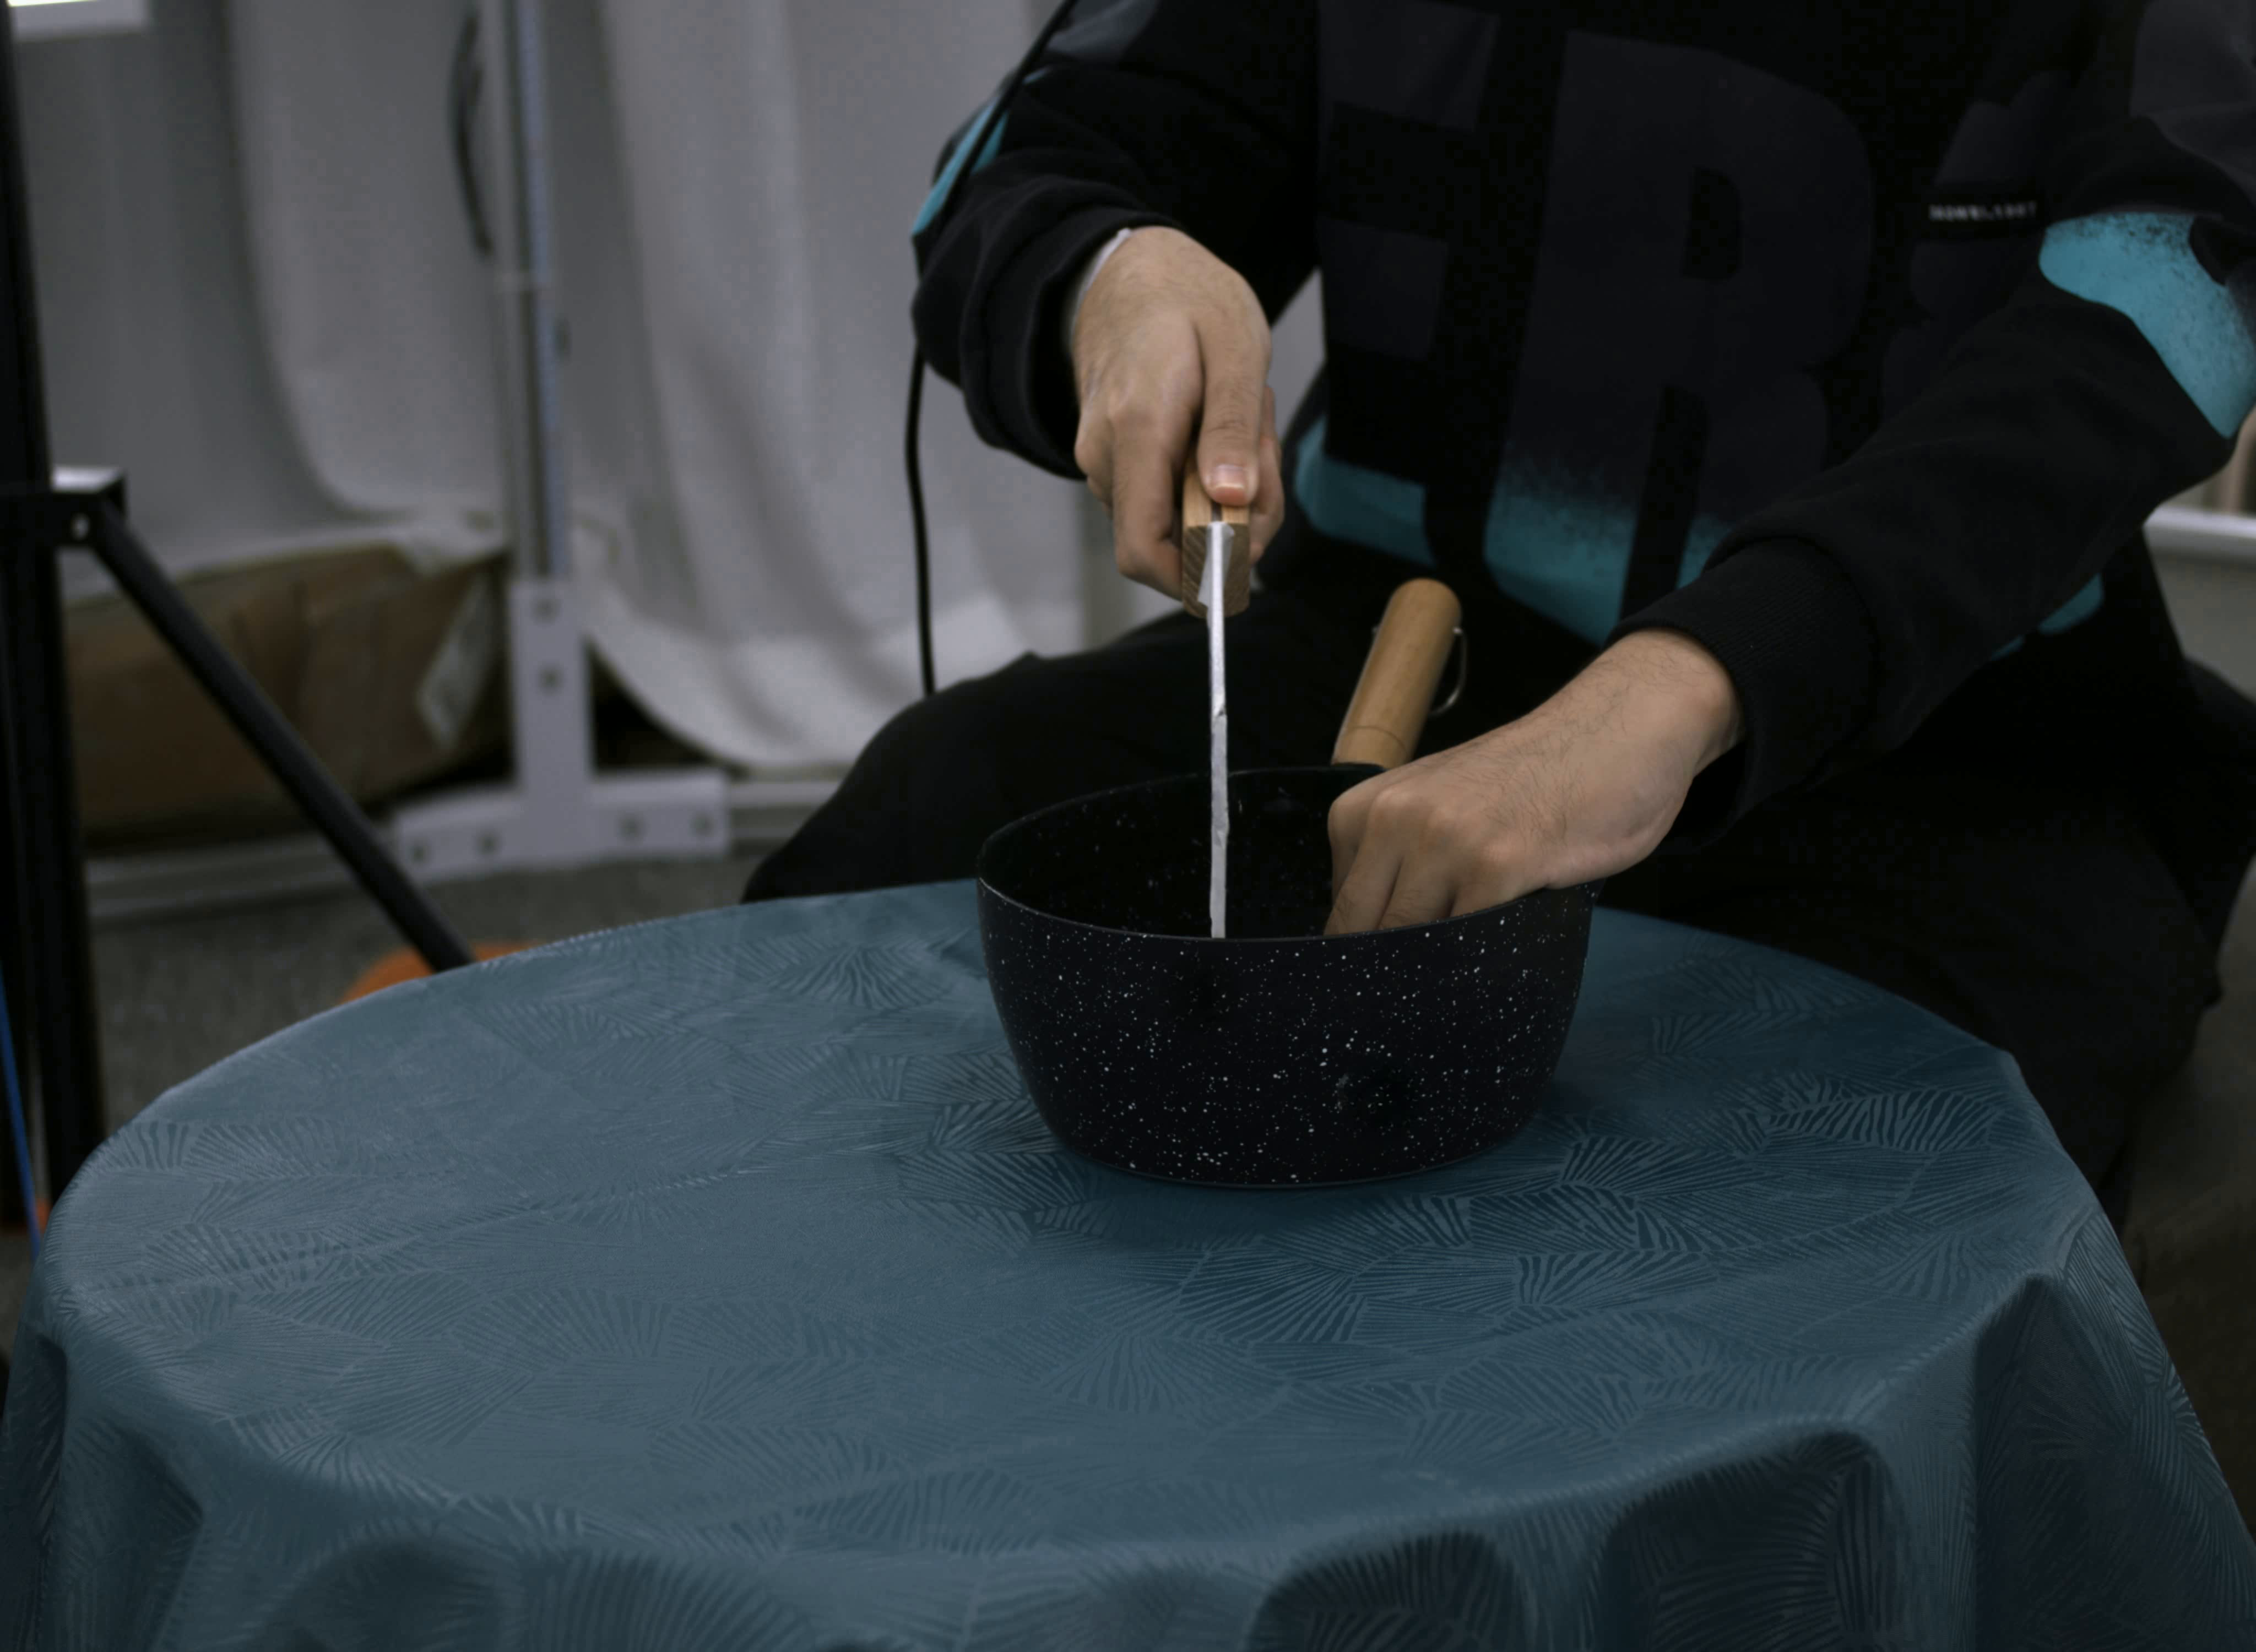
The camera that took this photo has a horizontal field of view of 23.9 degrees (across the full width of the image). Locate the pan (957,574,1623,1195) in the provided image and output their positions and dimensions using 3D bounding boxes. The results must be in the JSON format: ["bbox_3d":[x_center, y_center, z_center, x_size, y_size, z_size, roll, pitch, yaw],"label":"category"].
[{"bbox_3d":[0.063,0.014,1.680,0.209,0.108,0.341,0,17,13],"label":"pan"}]

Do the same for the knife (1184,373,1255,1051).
[{"bbox_3d":[0.028,-0.053,1.642,0.021,0.113,0.318,1,33,0],"label":"knife"}]
